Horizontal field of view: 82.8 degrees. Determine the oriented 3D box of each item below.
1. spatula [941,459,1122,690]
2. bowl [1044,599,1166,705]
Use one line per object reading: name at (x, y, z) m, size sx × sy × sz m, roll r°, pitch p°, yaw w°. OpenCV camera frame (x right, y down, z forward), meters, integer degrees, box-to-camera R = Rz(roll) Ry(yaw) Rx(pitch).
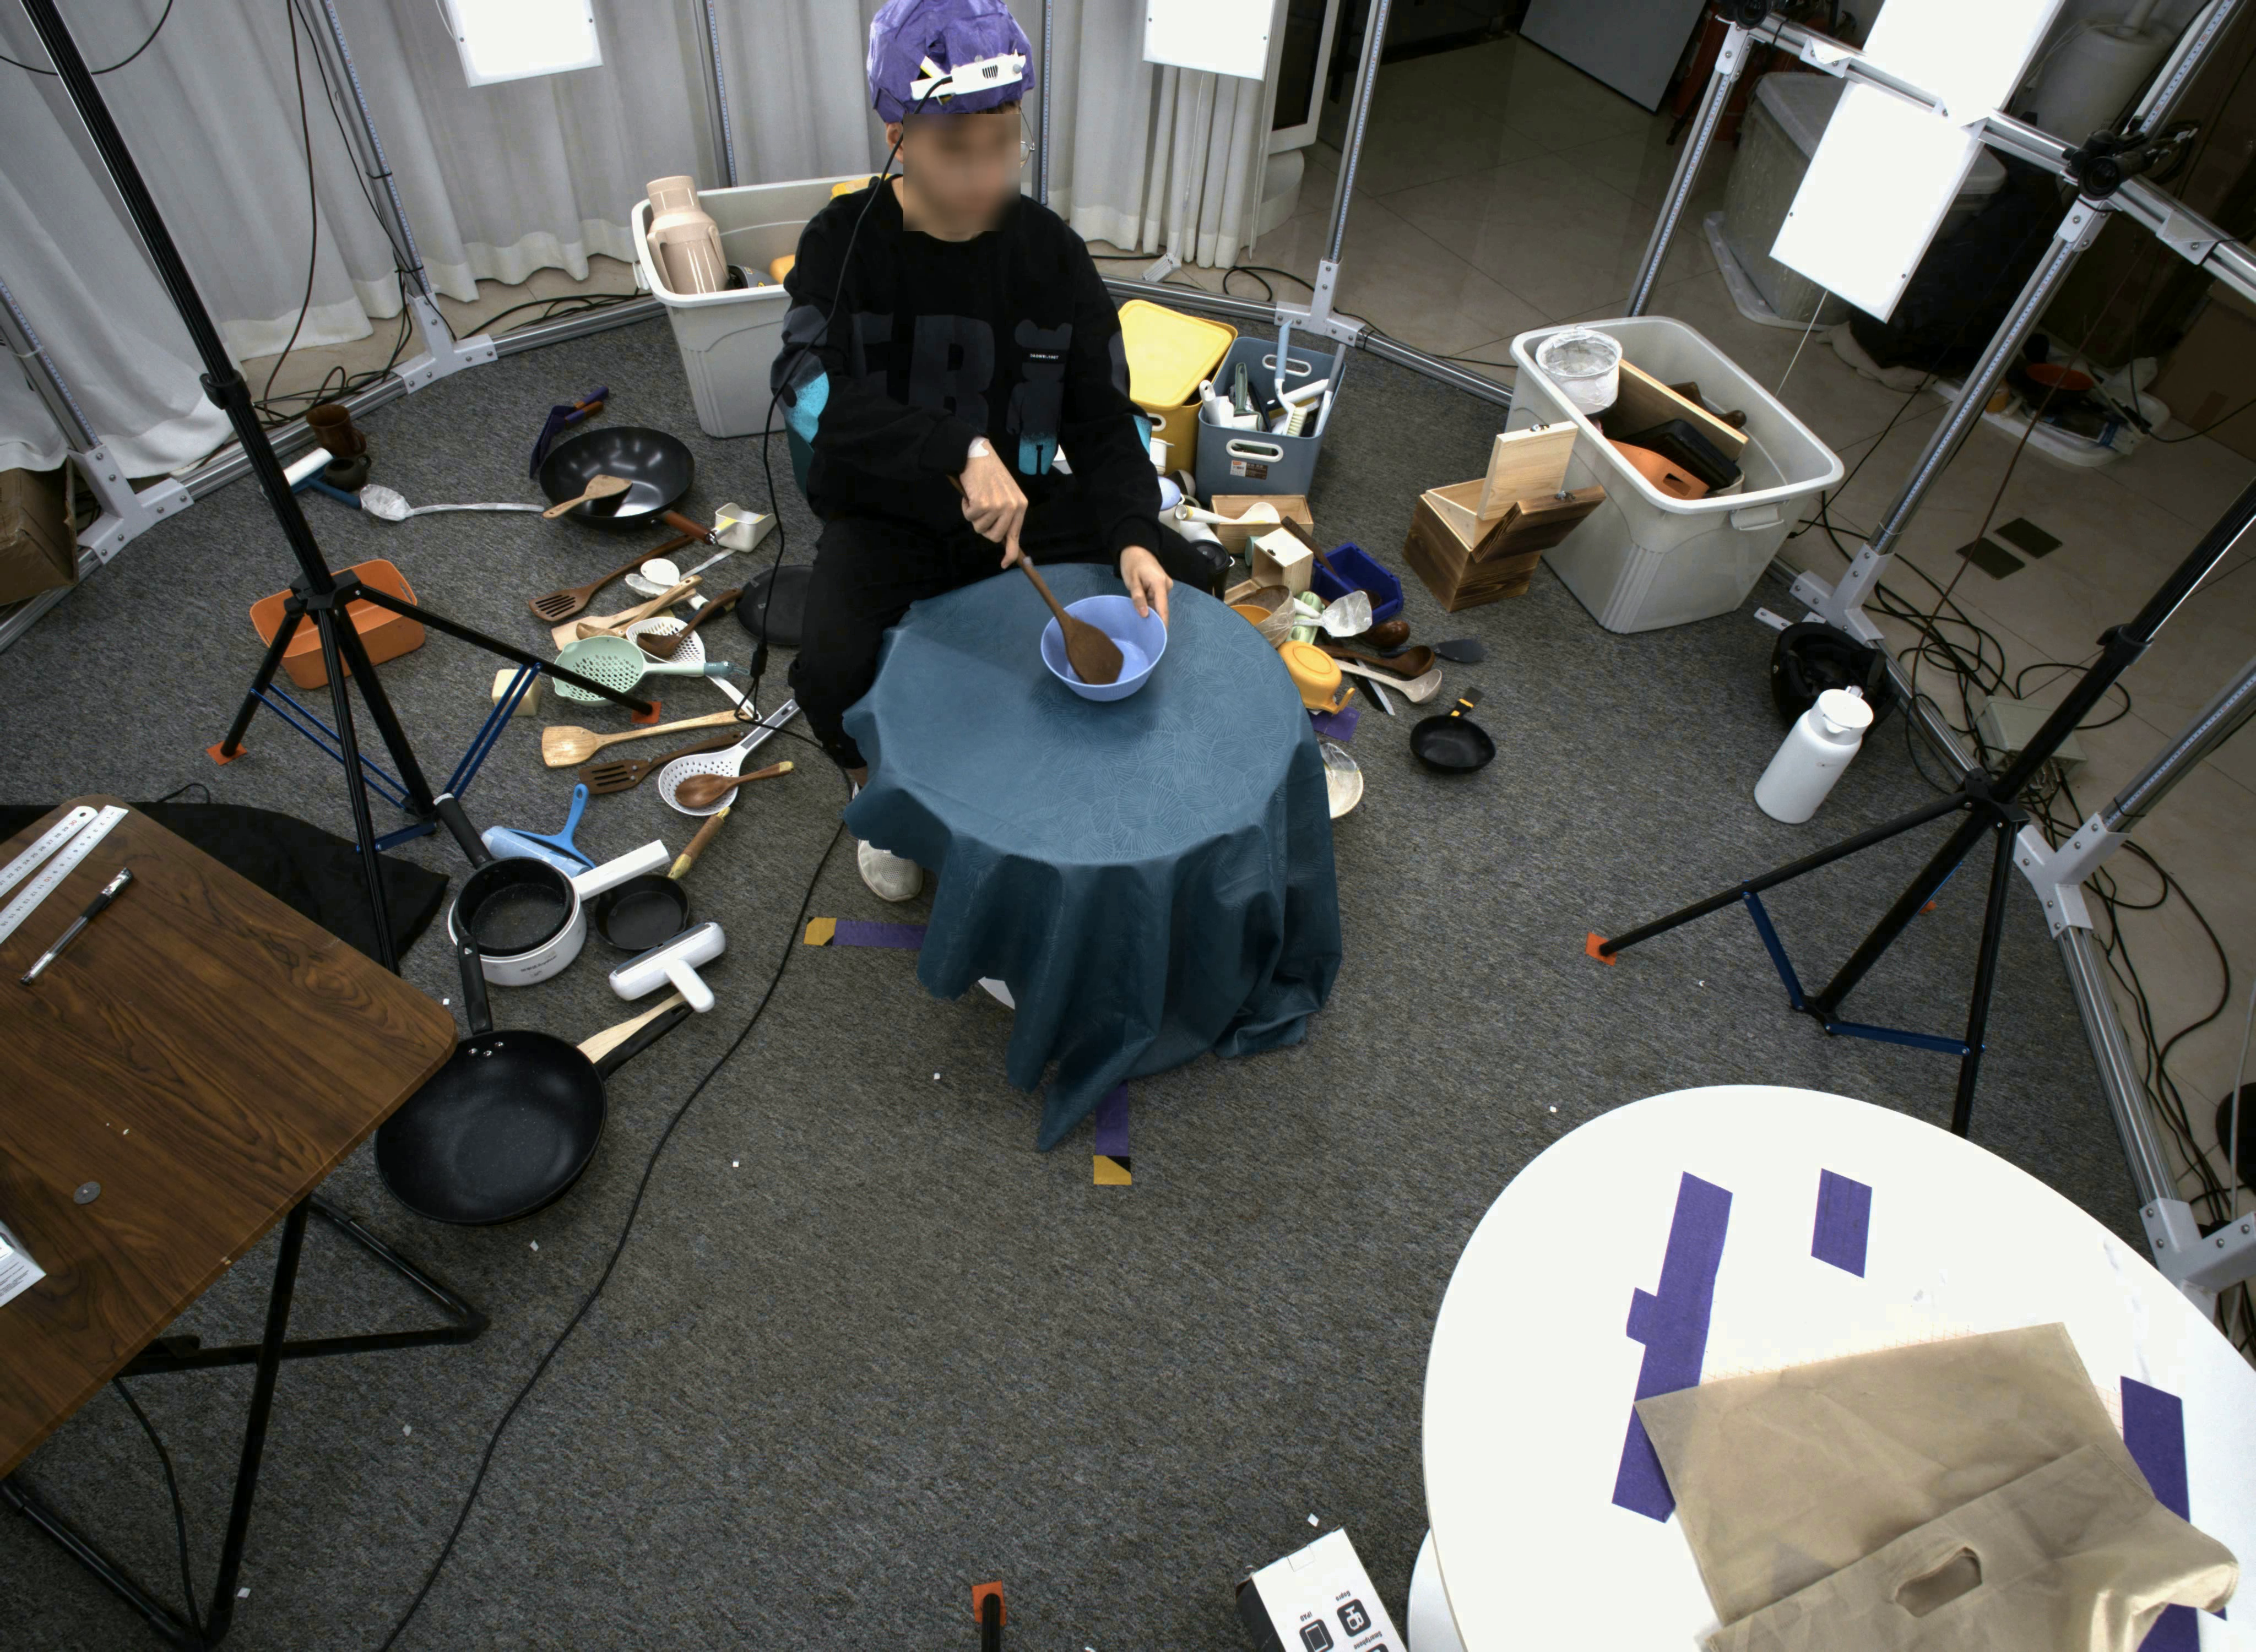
spatula at (-0.130, -0.340, 1.762) m, size 0.016 × 0.380 × 0.098 m, roll -17°, pitch 30°, yaw 41°
bowl at (-0.028, -0.238, 1.836) m, size 0.176 × 0.068 × 0.180 m, roll -5°, pitch 54°, yaw 7°
